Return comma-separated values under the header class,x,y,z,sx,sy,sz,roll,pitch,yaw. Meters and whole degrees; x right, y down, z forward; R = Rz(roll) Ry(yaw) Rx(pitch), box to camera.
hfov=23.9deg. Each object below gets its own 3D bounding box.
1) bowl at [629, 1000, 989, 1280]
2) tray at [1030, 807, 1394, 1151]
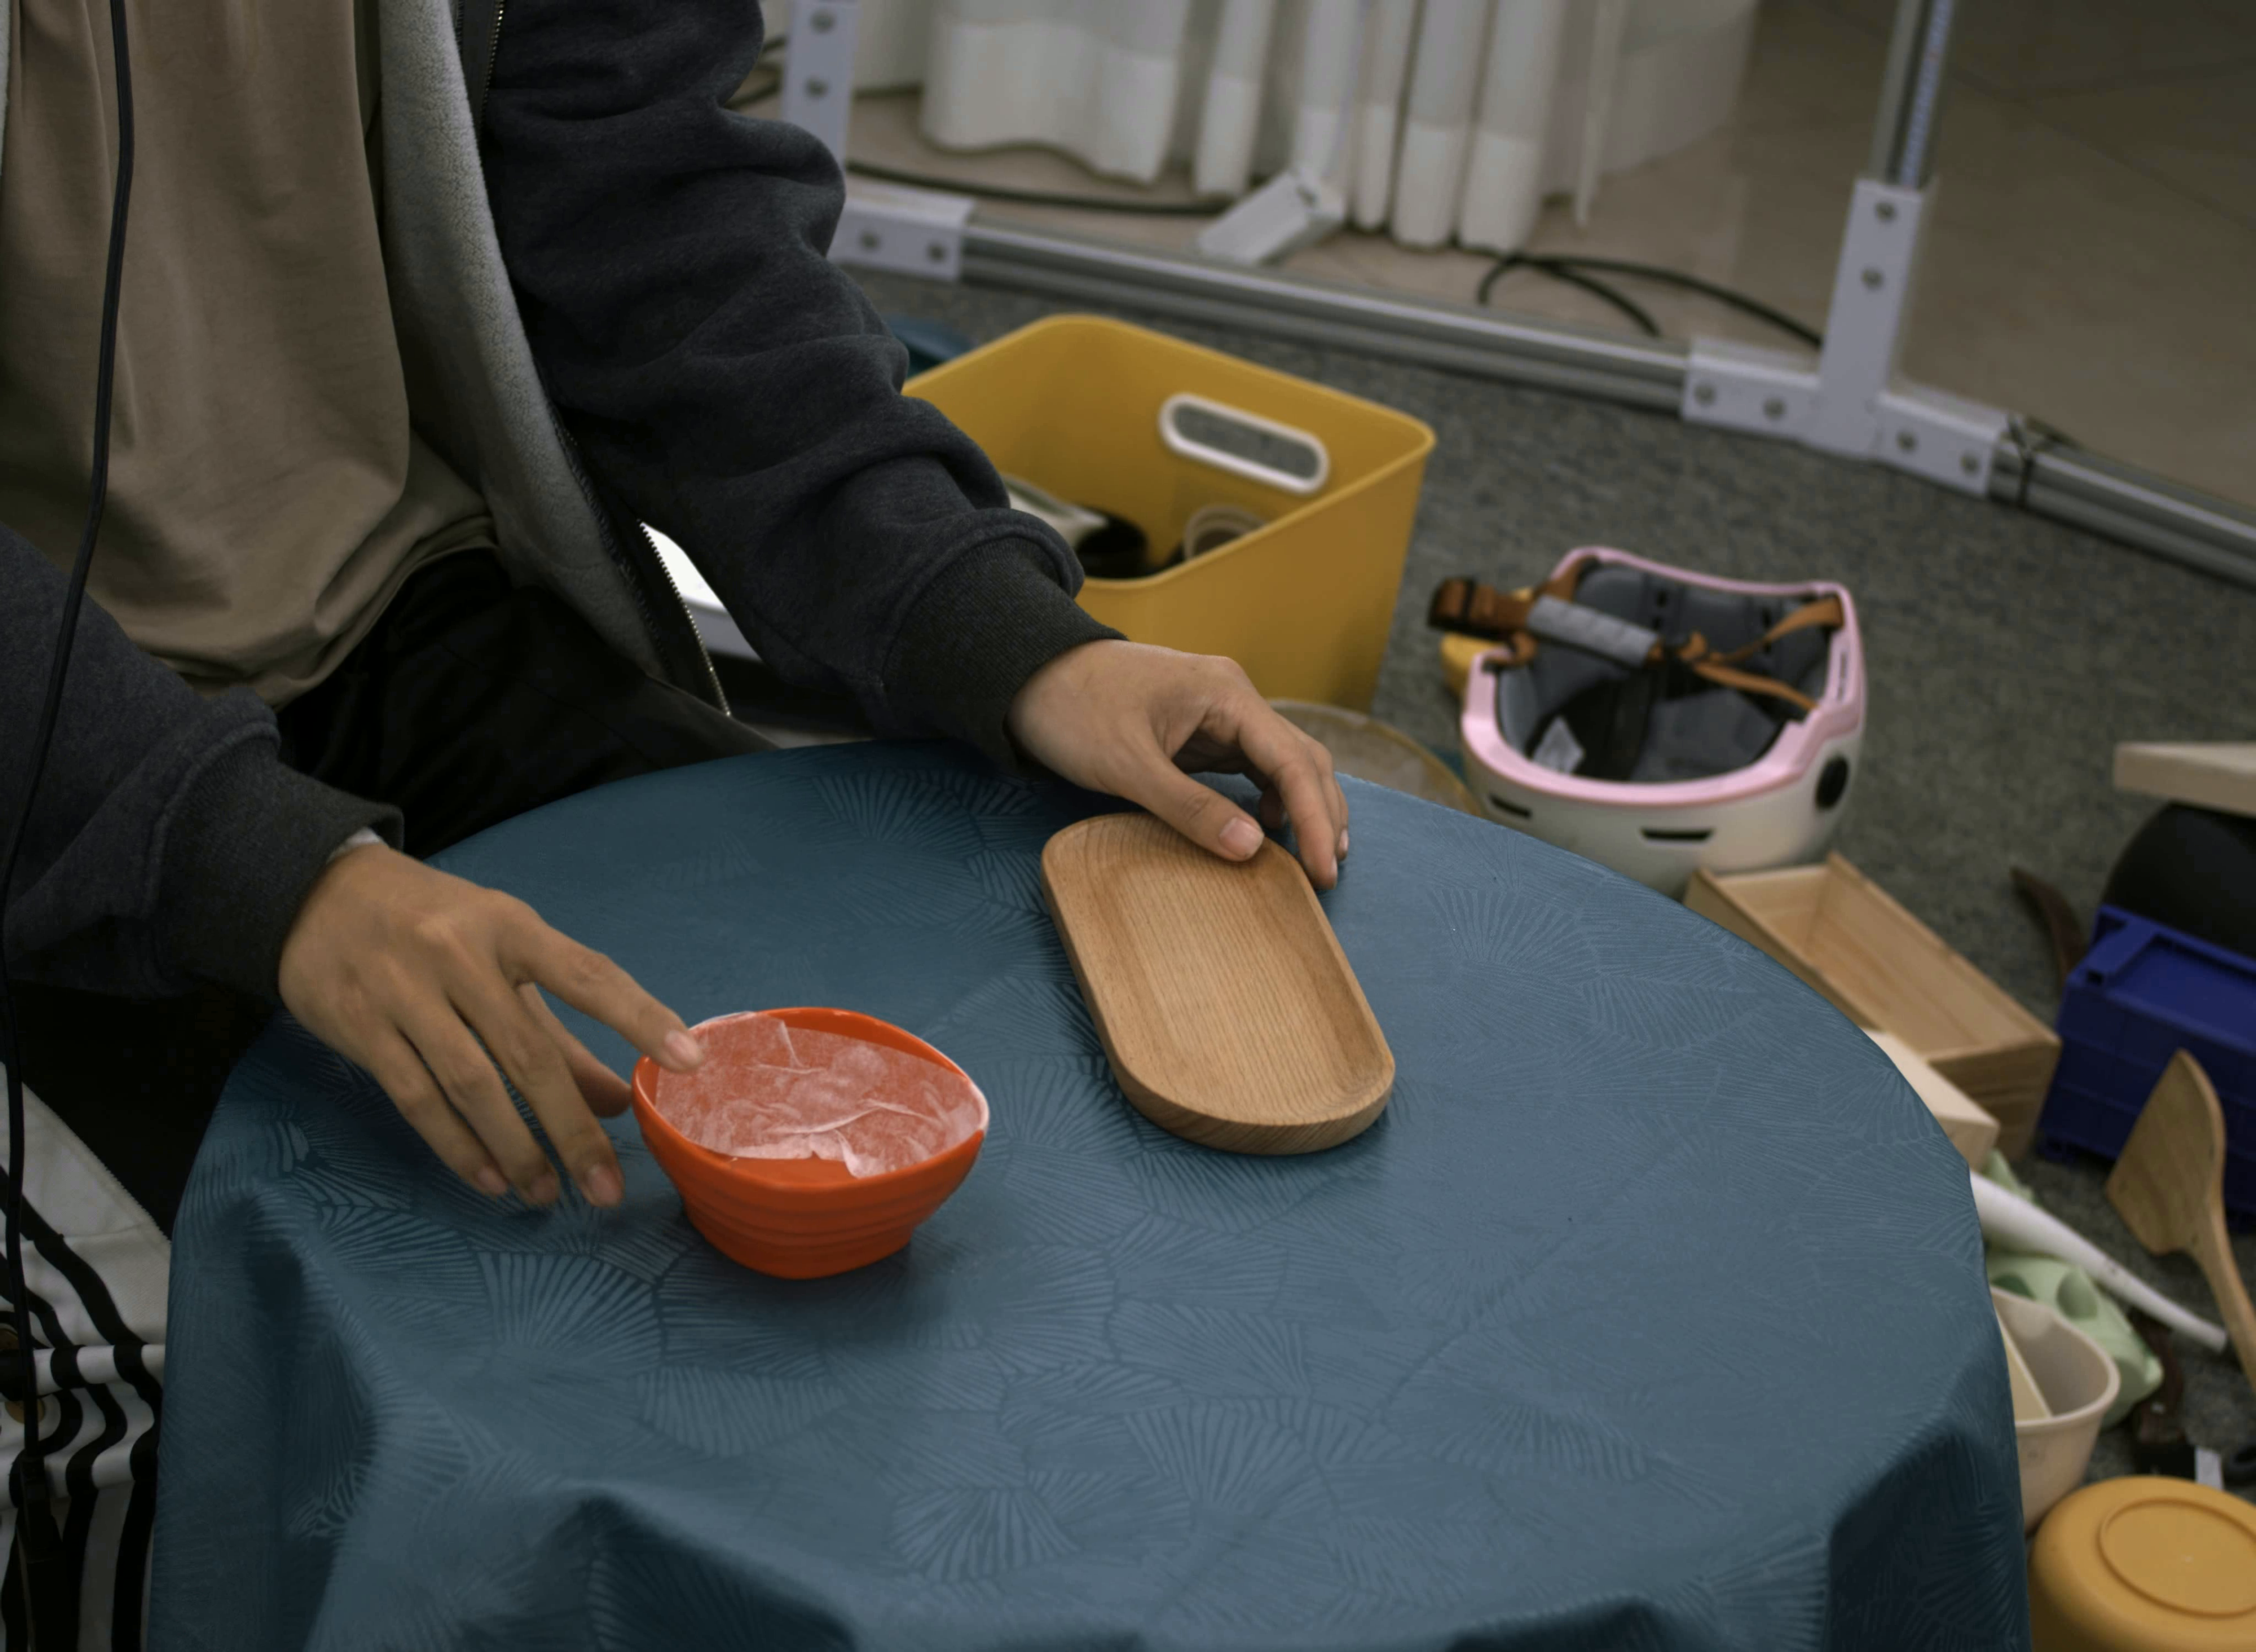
class,x,y,z,sx,sy,sz,roll,pitch,yaw
bowl,-0.107,0.108,1.750,0.118,0.051,0.119,5,28,-3
tray,0.028,0.053,1.928,0.101,0.020,0.233,0,27,-15
